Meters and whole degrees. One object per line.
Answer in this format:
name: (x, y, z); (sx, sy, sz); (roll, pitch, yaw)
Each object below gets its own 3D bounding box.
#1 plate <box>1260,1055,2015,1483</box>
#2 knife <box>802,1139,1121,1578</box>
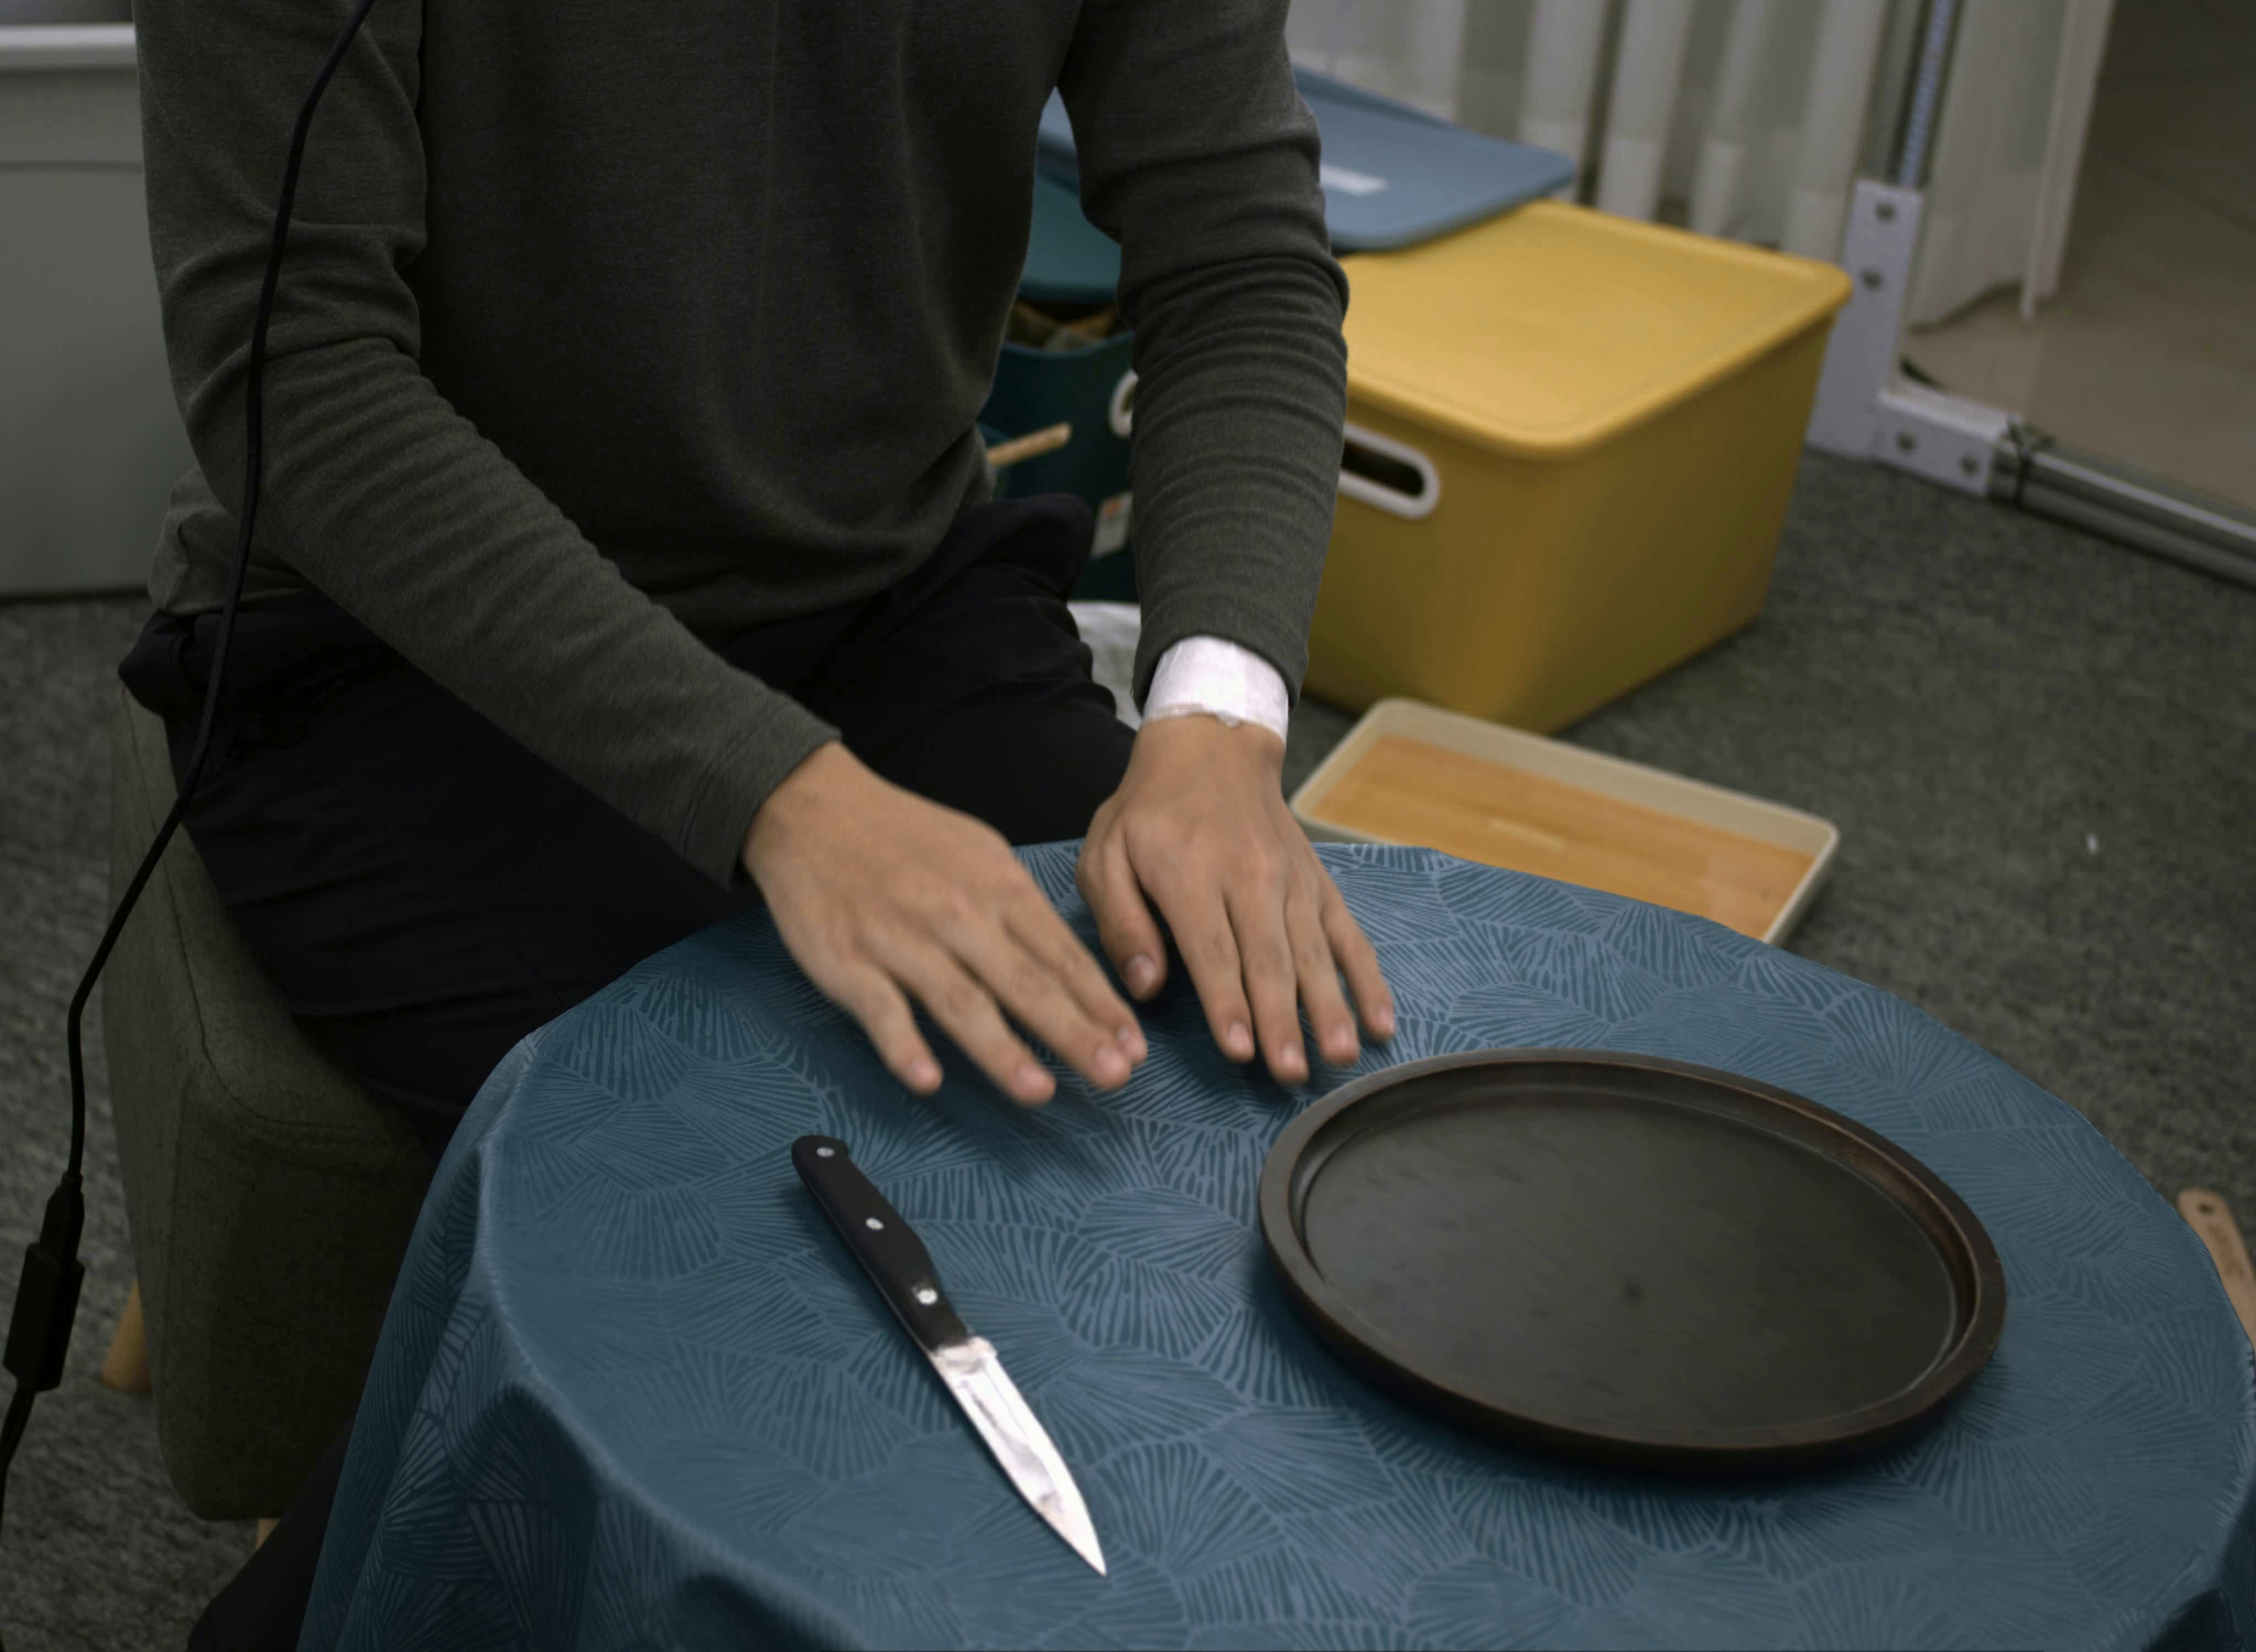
plate: (0.168, 0.145, 1.776); (0.254, 0.029, 0.256); (6, 27, -3)
knife: (-0.055, 0.168, 1.693); (0.024, 0.016, 0.240); (-7, 32, -25)
